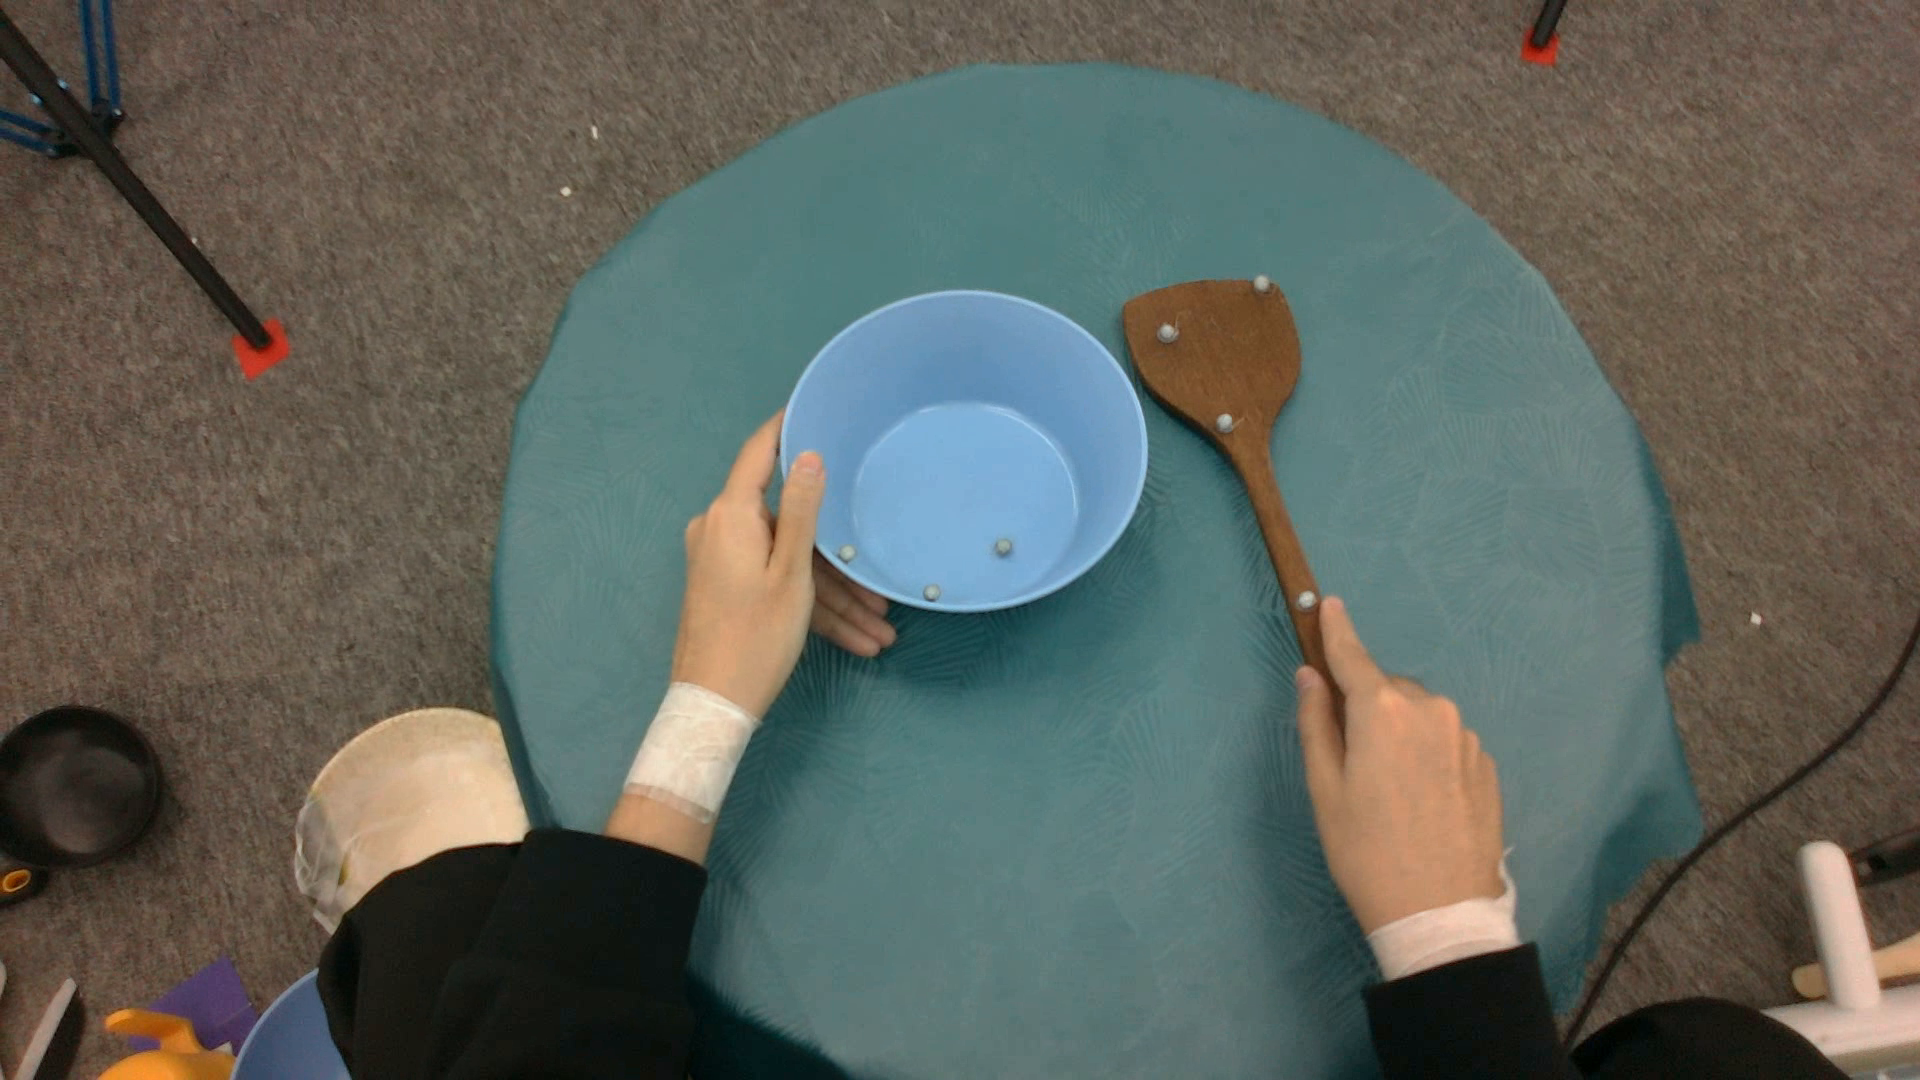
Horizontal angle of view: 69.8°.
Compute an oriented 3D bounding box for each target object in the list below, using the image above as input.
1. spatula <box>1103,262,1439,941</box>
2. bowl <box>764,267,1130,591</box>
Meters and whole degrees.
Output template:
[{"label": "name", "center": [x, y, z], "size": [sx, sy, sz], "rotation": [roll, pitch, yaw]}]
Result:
[{"label": "spatula", "center": [0.156, 0.005, 0.674], "size": [0.096, 0.016, 0.387], "rotation": [-8, 57, -7]}, {"label": "bowl", "center": [-0.006, -0.045, 0.687], "size": [0.176, 0.070, 0.176], "rotation": [0, 65, 0]}]
